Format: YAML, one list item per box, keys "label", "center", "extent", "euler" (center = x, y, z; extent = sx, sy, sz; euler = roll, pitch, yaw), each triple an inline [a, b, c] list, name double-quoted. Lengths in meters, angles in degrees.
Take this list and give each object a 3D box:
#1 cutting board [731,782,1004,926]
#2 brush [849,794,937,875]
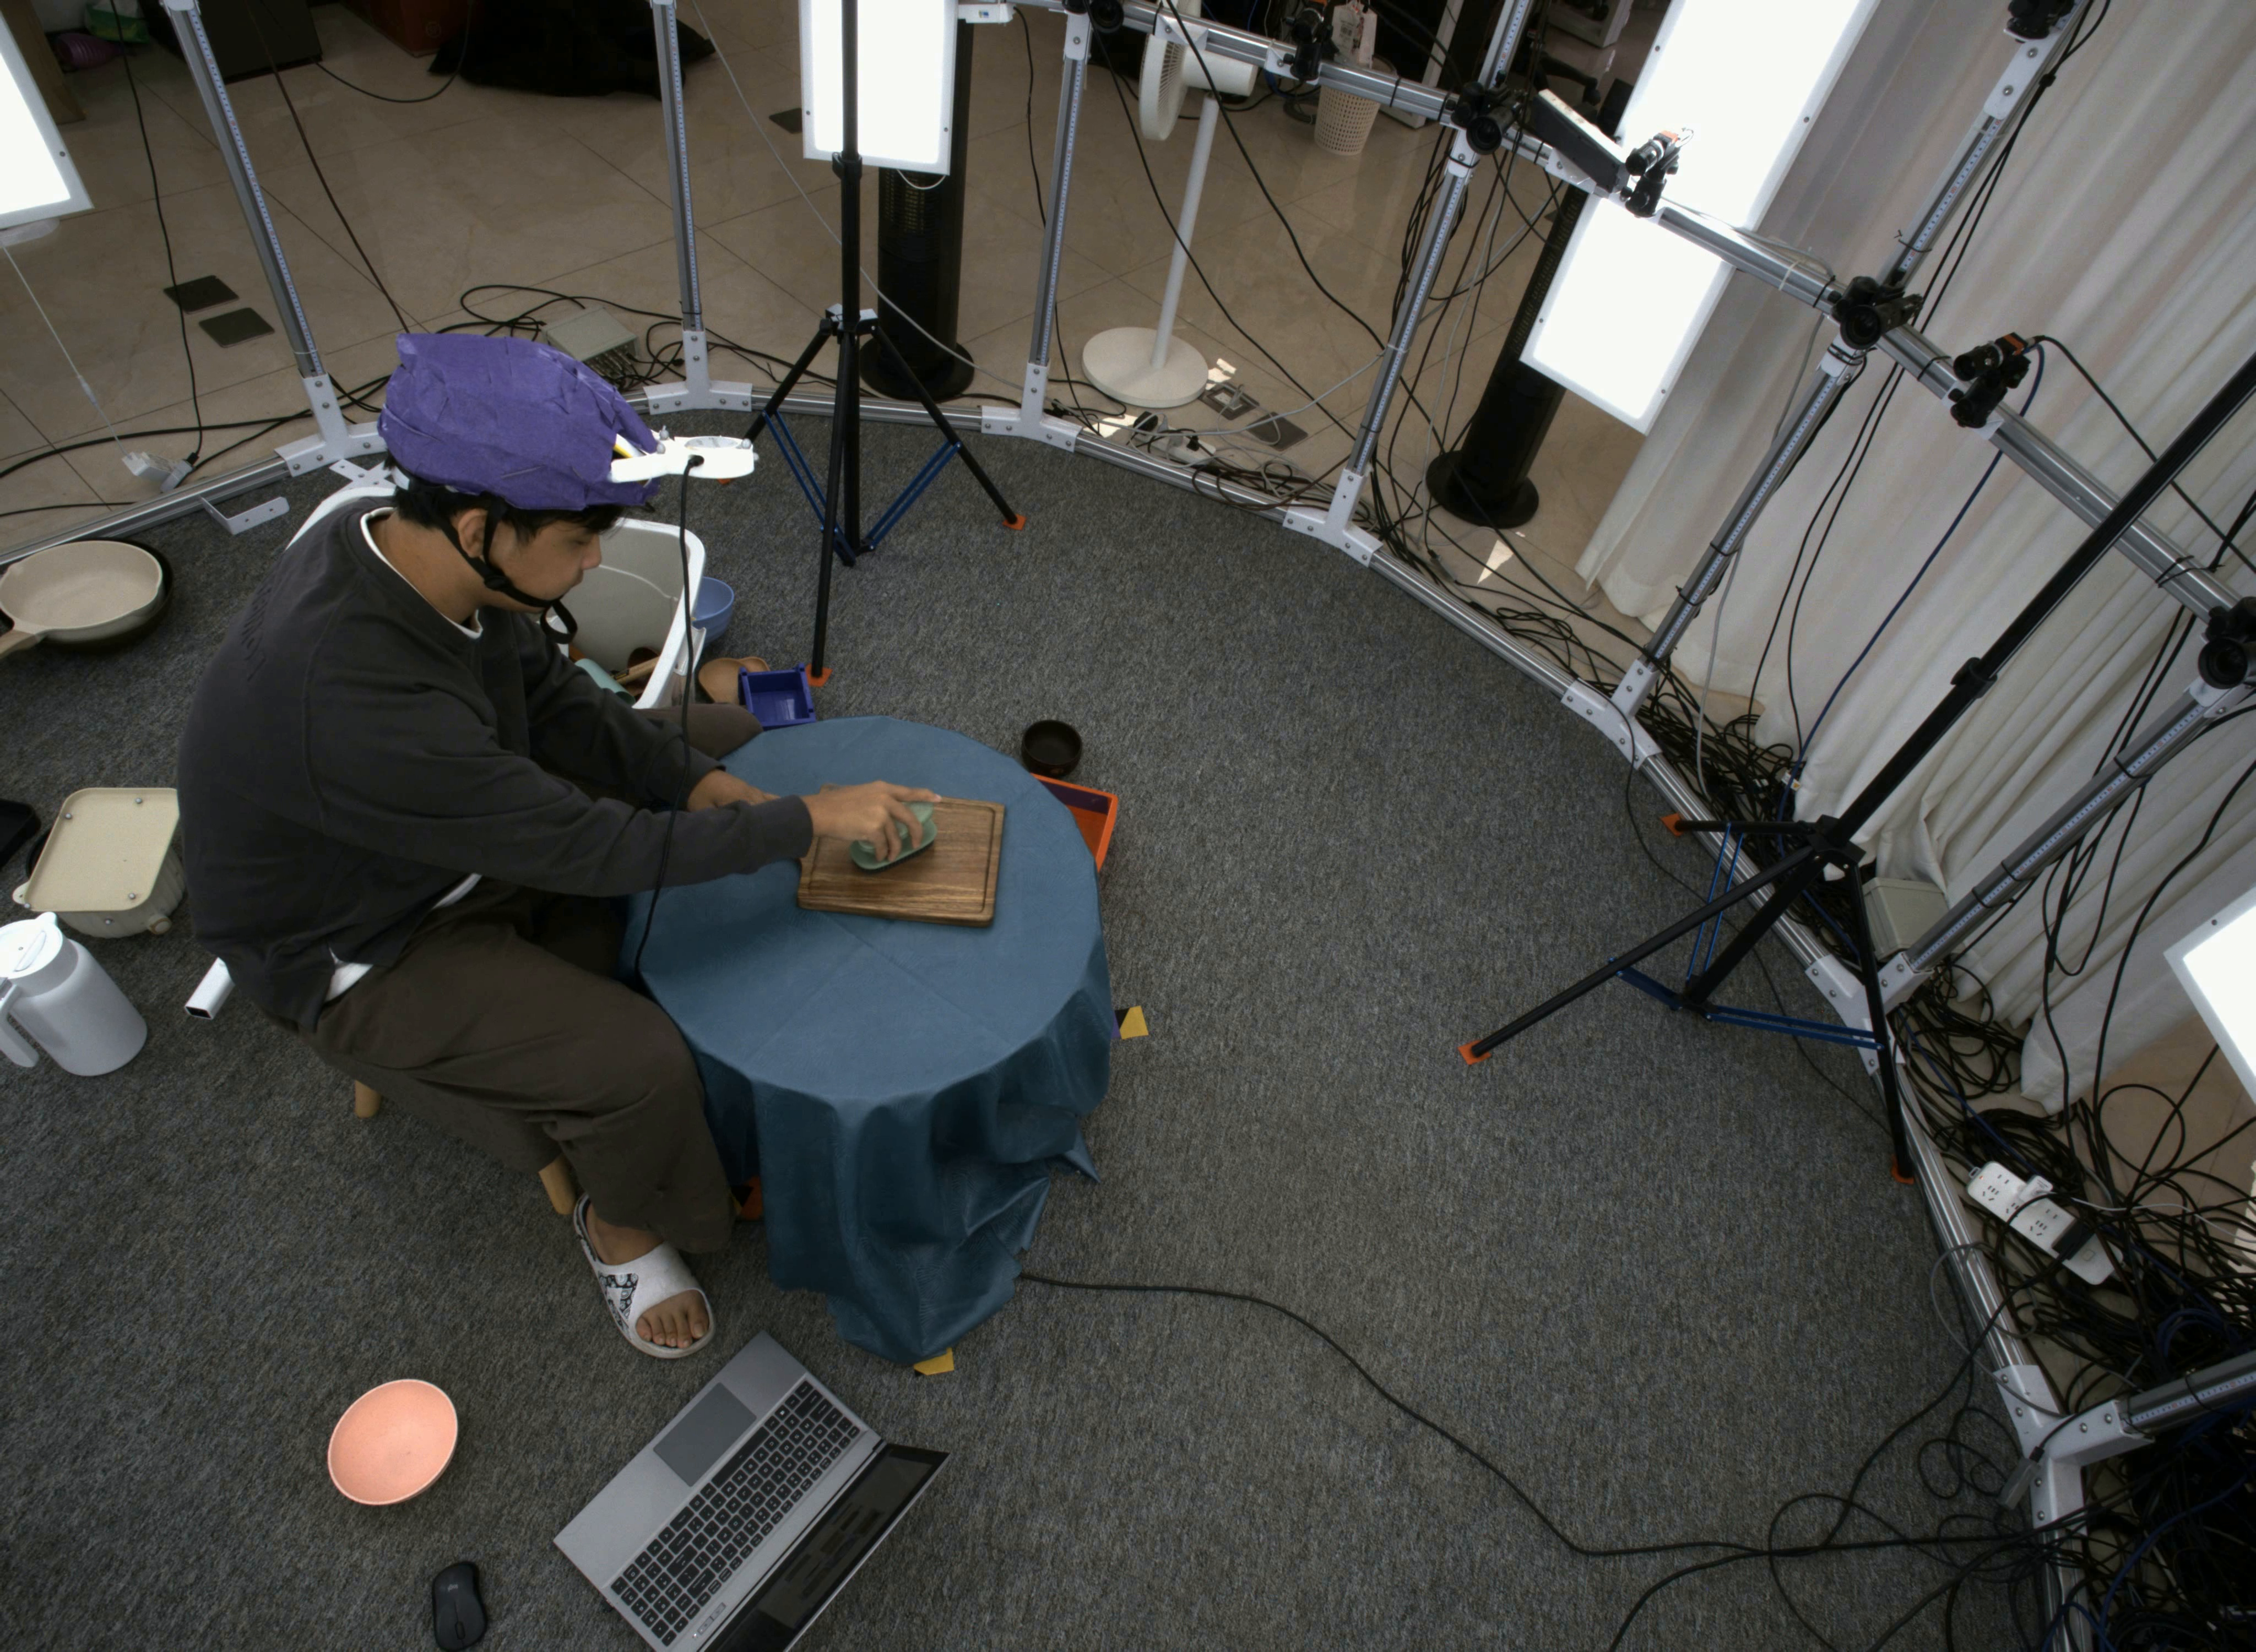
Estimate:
- label: "cutting board"
  center: [-0.342, 0.028, 1.706]
  extent: [0.351, 0.023, 0.197]
  euler: [7, 52, -9]
- label: "brush"
  center: [-0.303, 0.013, 1.690]
  extent: [0.123, 0.078, 0.058]
  euler: [-33, 61, -14]
